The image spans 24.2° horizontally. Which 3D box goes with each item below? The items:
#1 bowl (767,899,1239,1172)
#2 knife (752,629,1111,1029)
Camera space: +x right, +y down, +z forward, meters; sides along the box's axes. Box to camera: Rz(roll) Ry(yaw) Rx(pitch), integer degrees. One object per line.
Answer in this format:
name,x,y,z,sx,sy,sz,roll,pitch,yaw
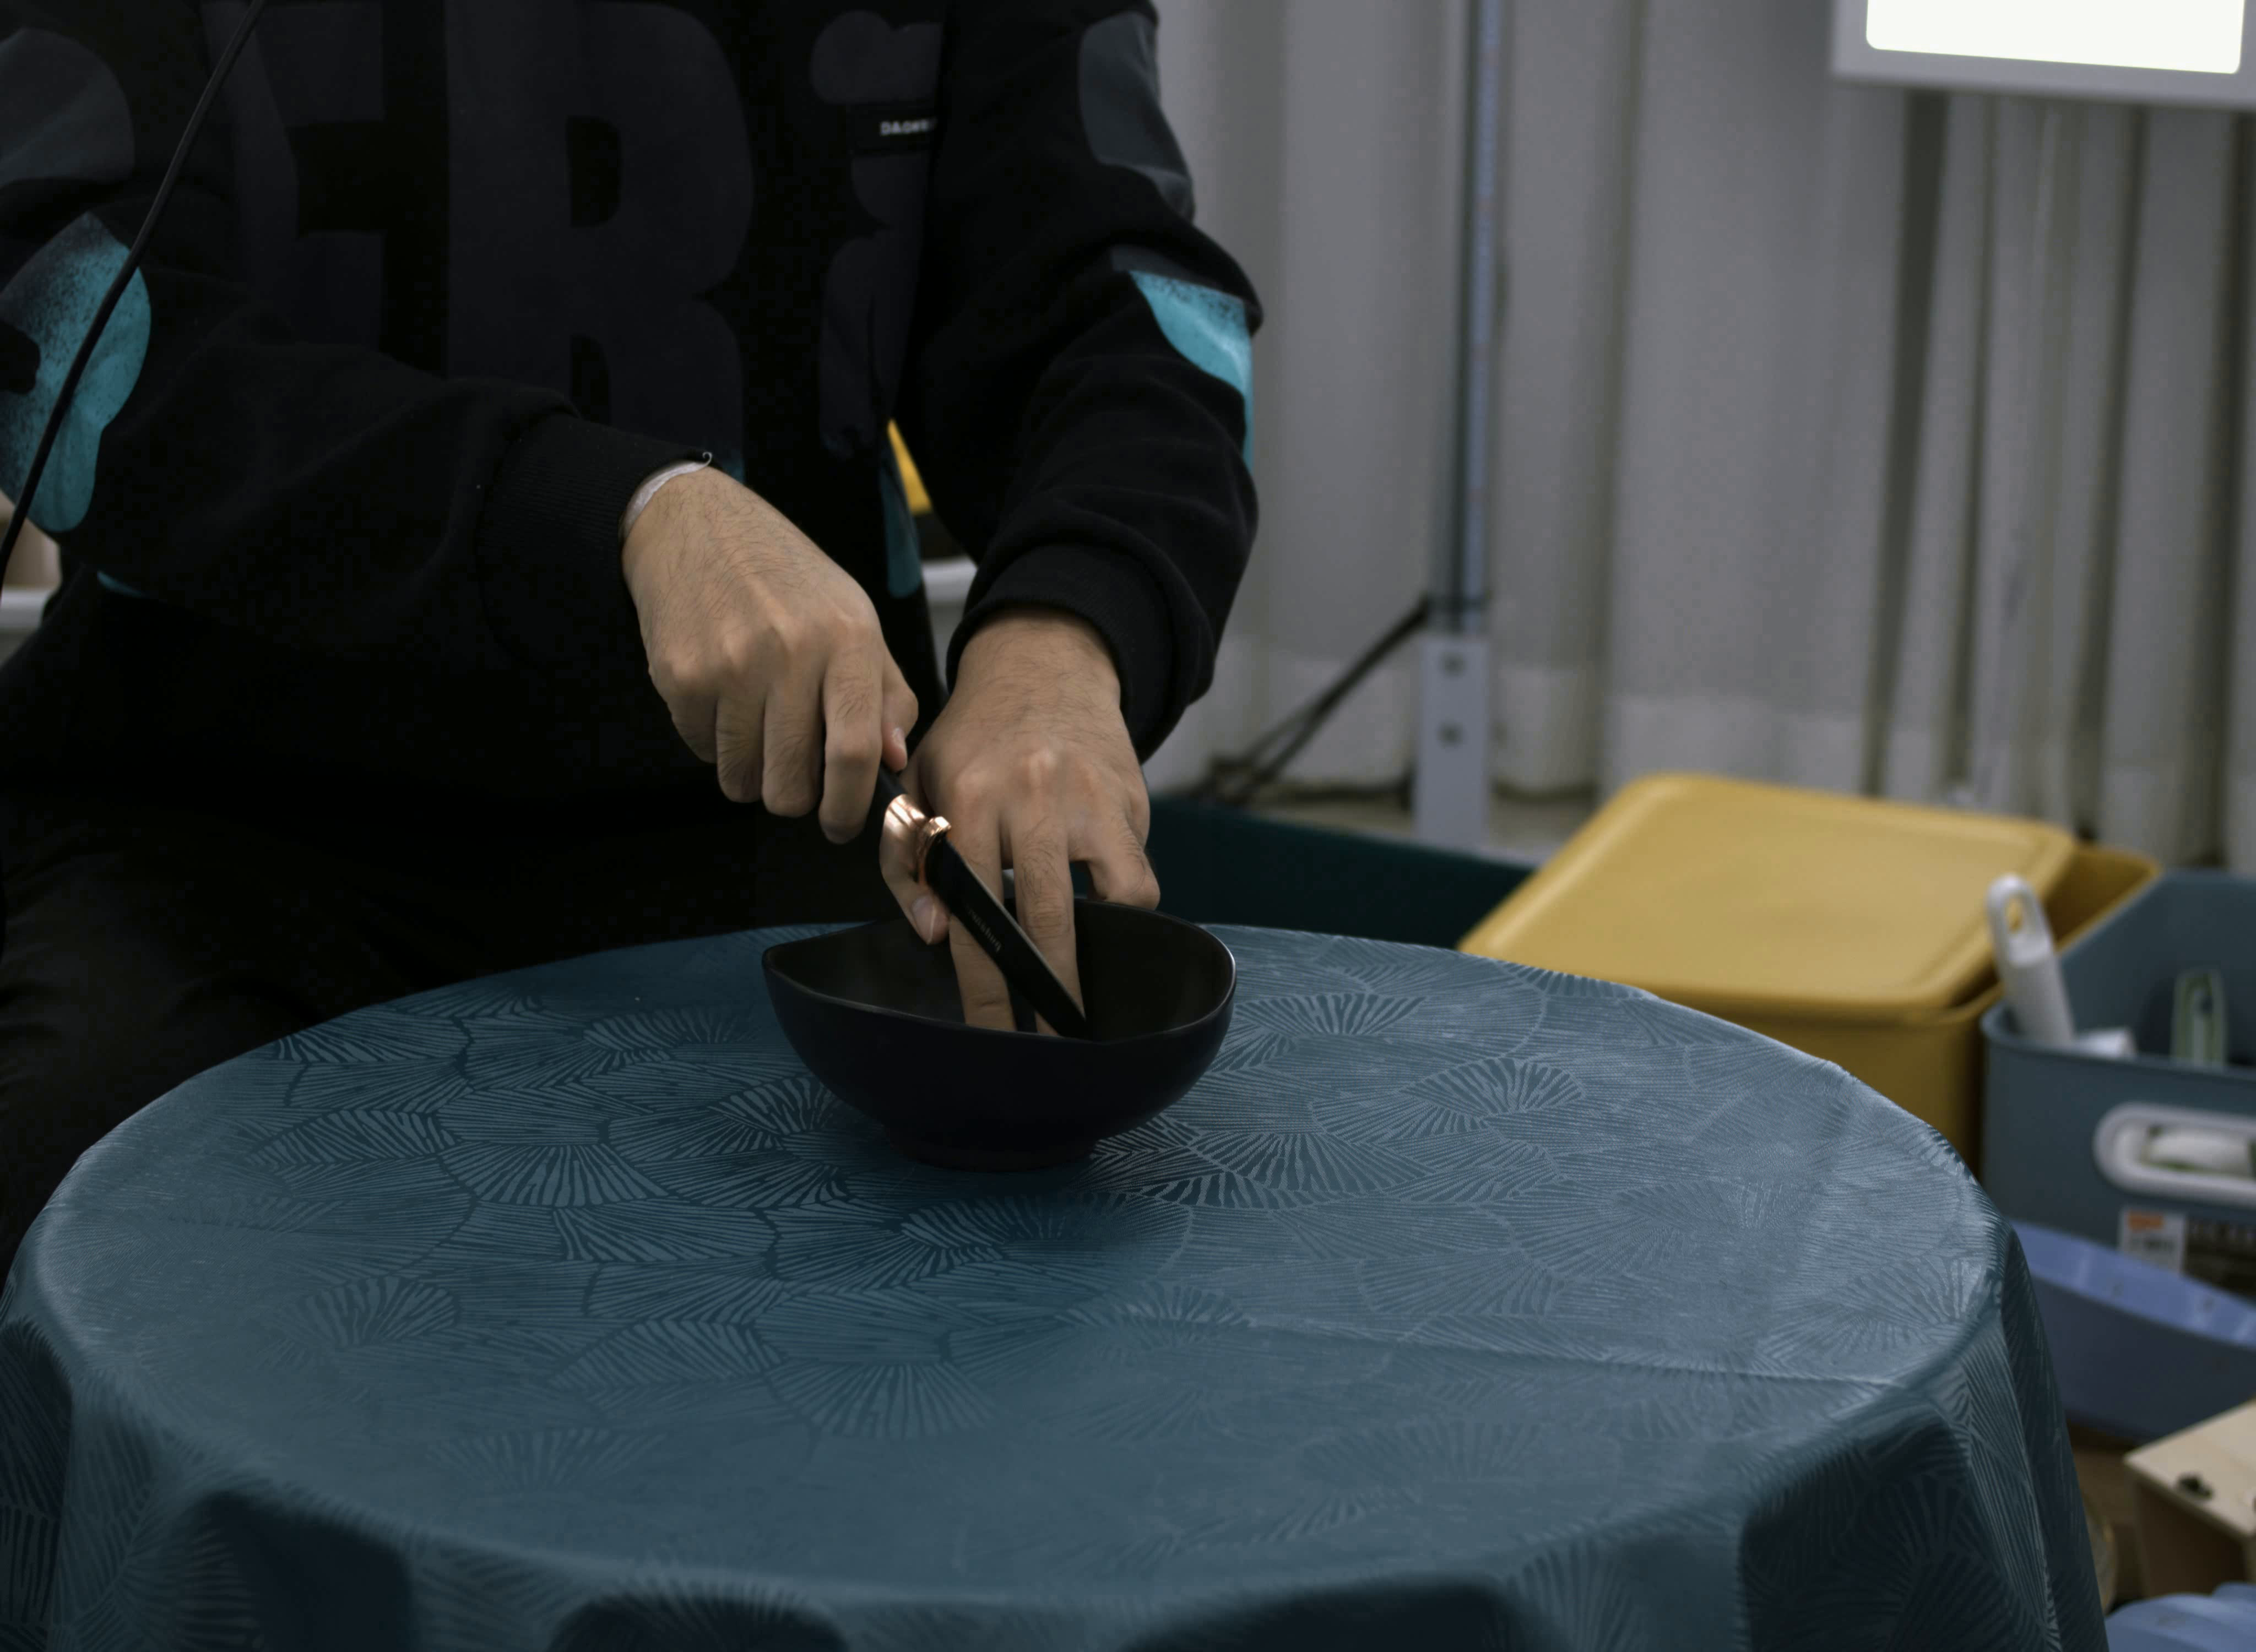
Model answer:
bowl,-0.041,0.069,1.656,0.138,0.067,0.168,-13,19,-40
knife,-0.059,0.009,1.692,0.017,0.026,0.223,-21,53,-29
